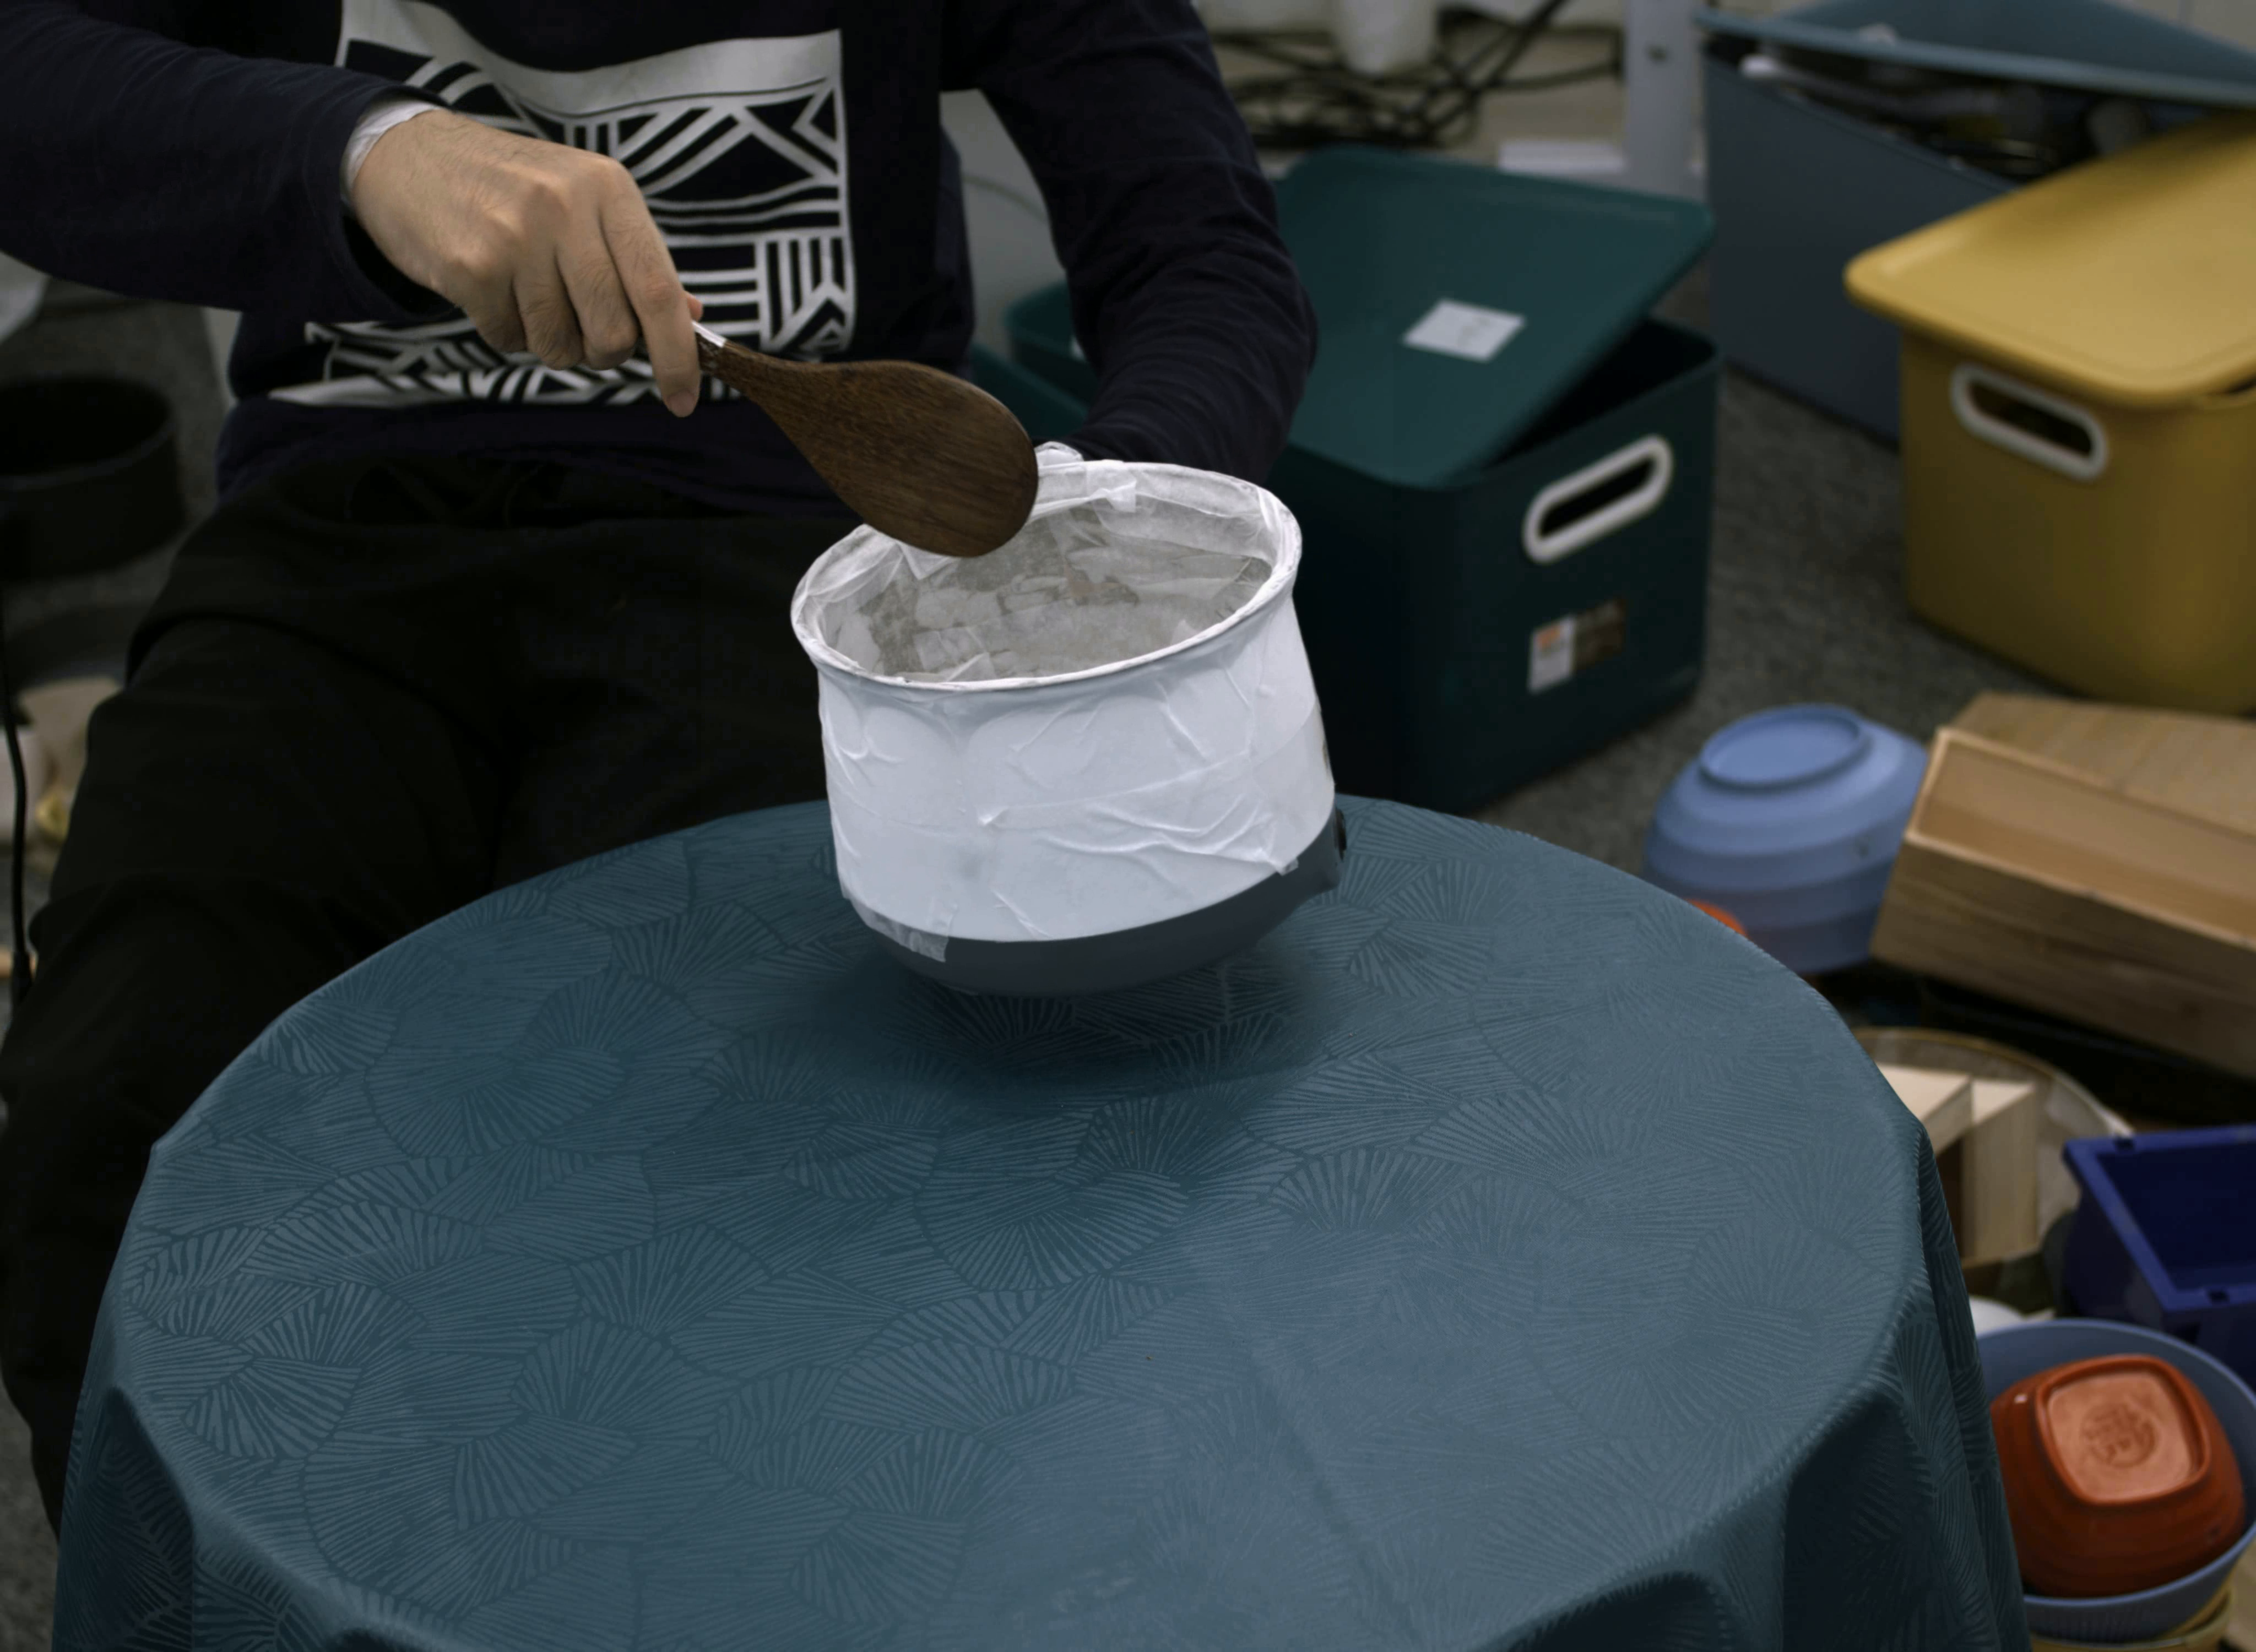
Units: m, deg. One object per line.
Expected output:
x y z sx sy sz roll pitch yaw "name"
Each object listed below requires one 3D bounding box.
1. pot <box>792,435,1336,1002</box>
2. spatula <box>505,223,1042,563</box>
-0.021 -0.045 1.970 0.178 0.135 0.237 -5 27 1 "pot"
-0.124 -0.158 1.950 0.215 0.071 0.009 28 37 13 "spatula"
